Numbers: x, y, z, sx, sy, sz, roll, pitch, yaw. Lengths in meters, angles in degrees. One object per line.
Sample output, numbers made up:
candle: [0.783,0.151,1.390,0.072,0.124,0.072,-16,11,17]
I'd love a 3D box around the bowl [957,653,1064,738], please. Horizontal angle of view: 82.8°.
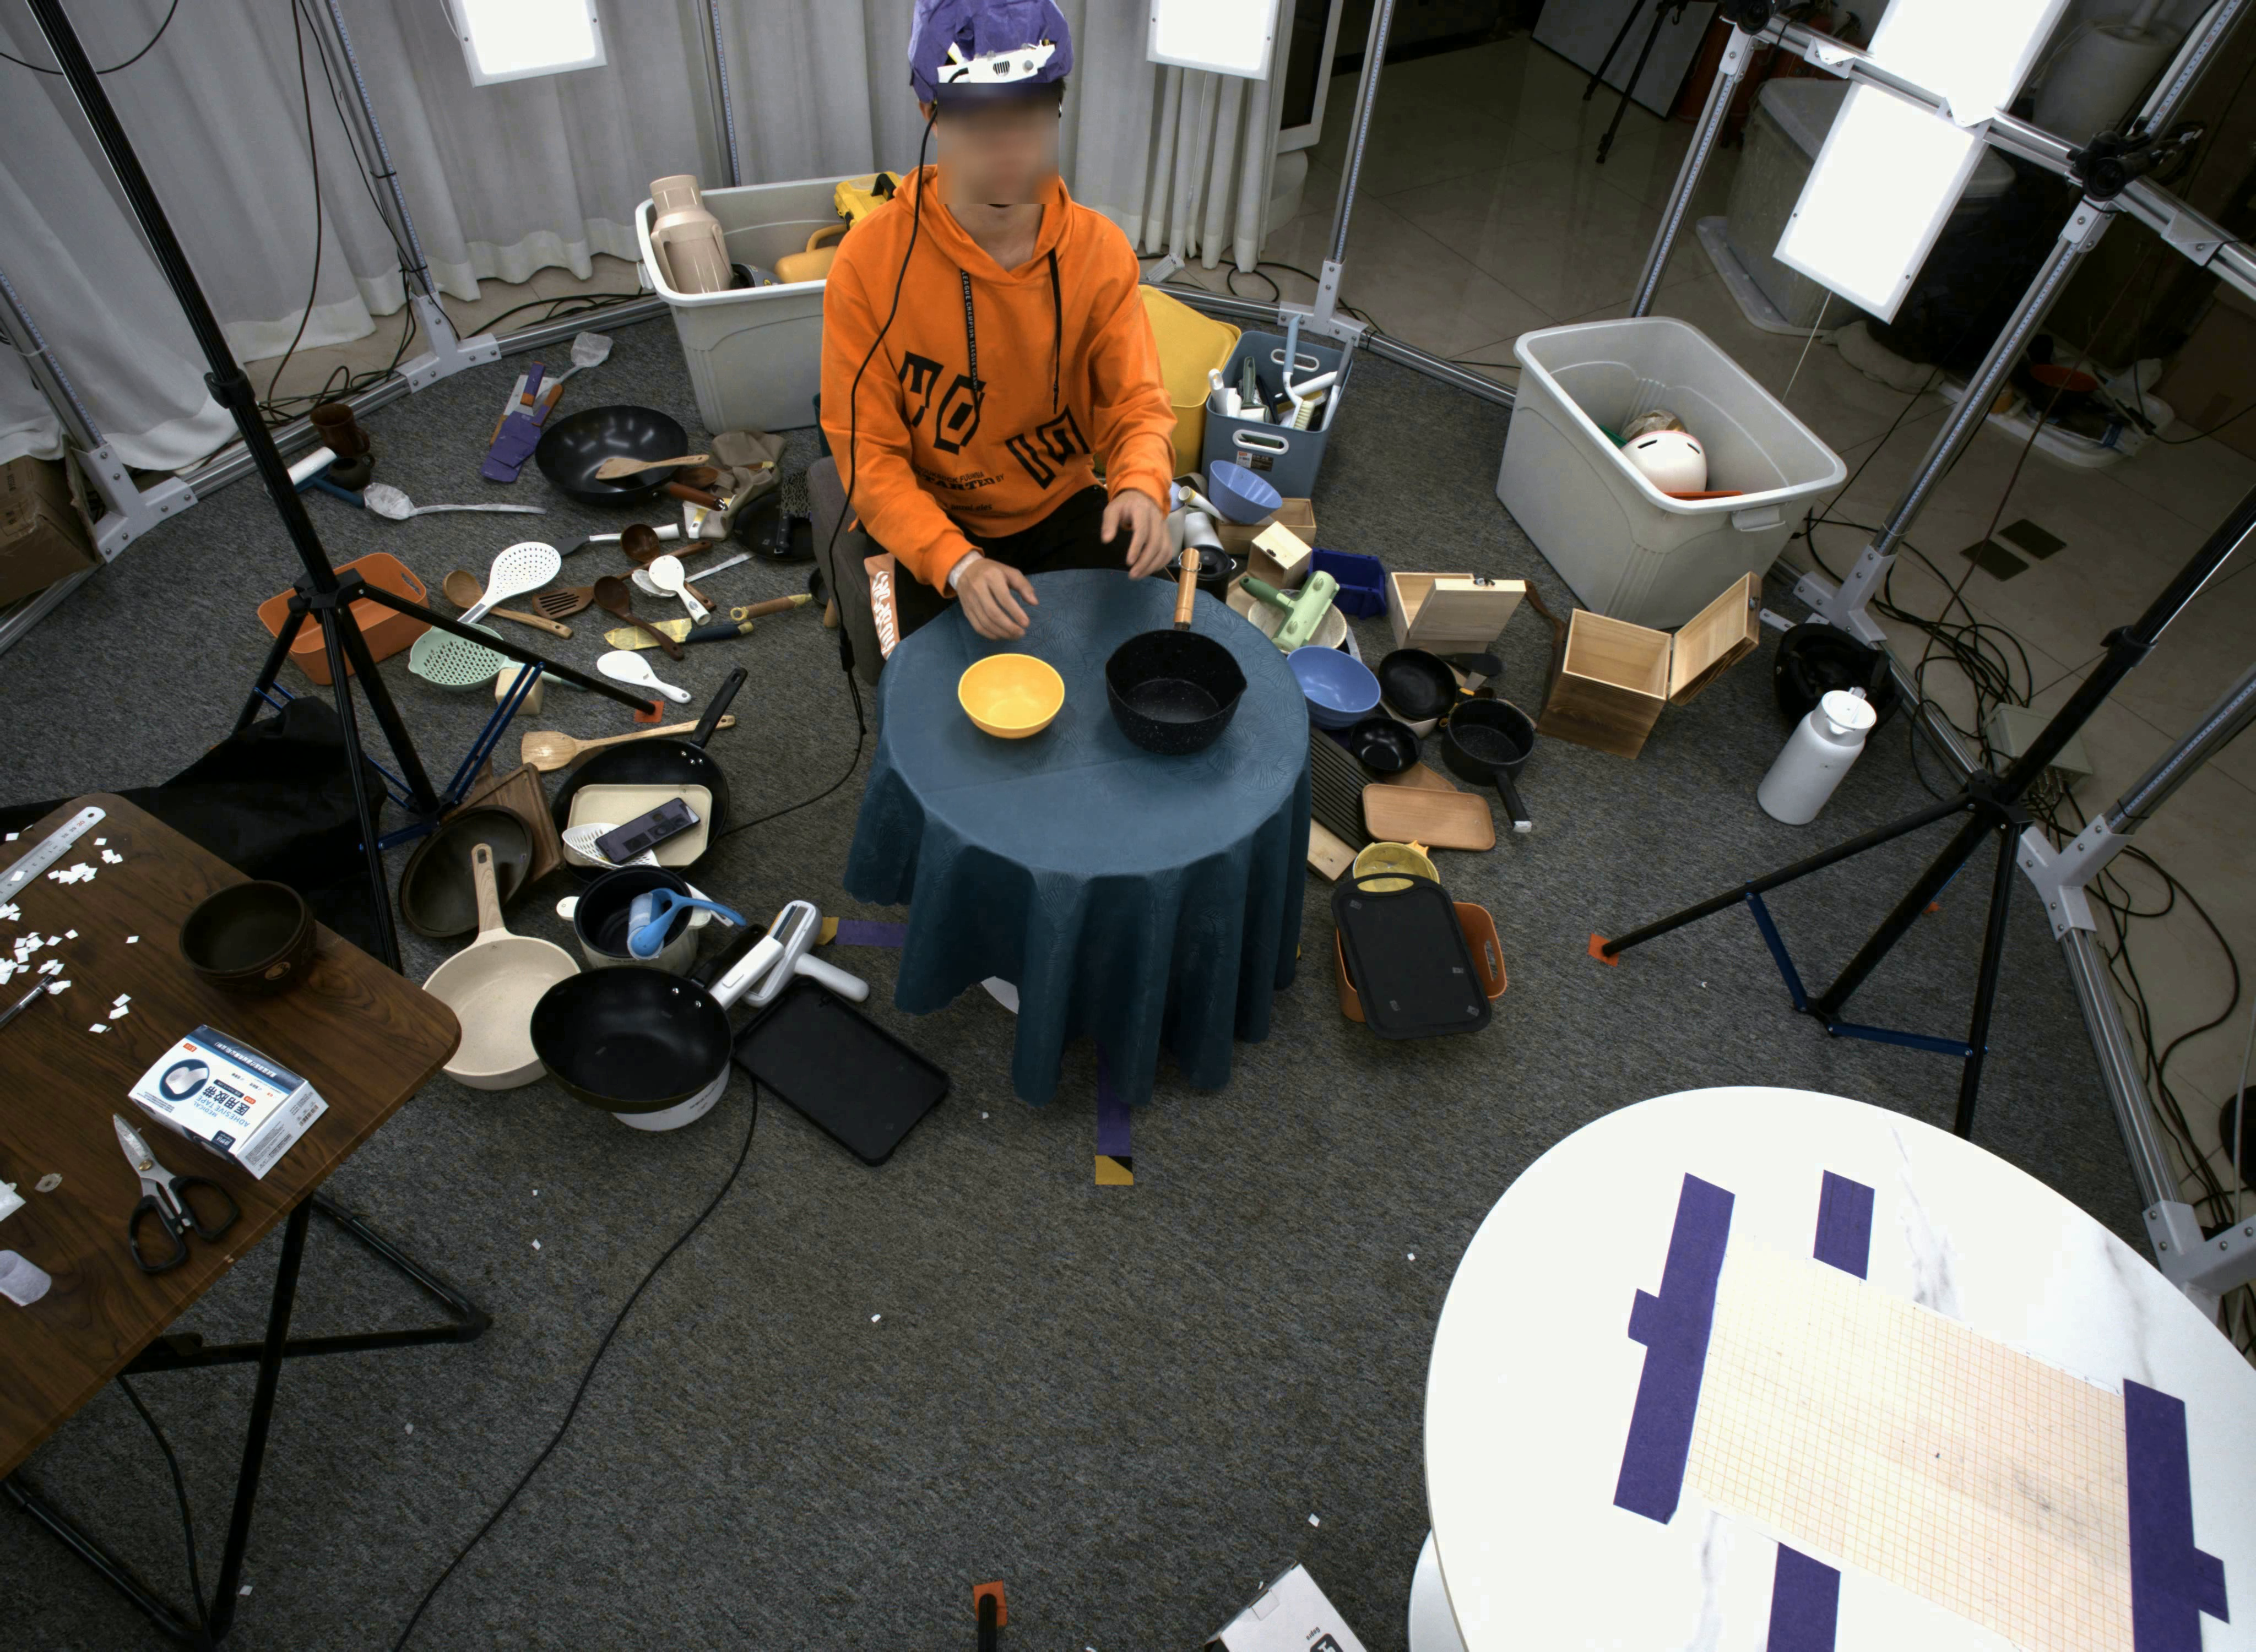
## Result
bowl: [-0.161,-0.167,1.765,0.145,0.058,0.149,3,49,-4]

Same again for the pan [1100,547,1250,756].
pan: [0.070,-0.248,1.819,0.207,0.105,0.351,6,50,3]
